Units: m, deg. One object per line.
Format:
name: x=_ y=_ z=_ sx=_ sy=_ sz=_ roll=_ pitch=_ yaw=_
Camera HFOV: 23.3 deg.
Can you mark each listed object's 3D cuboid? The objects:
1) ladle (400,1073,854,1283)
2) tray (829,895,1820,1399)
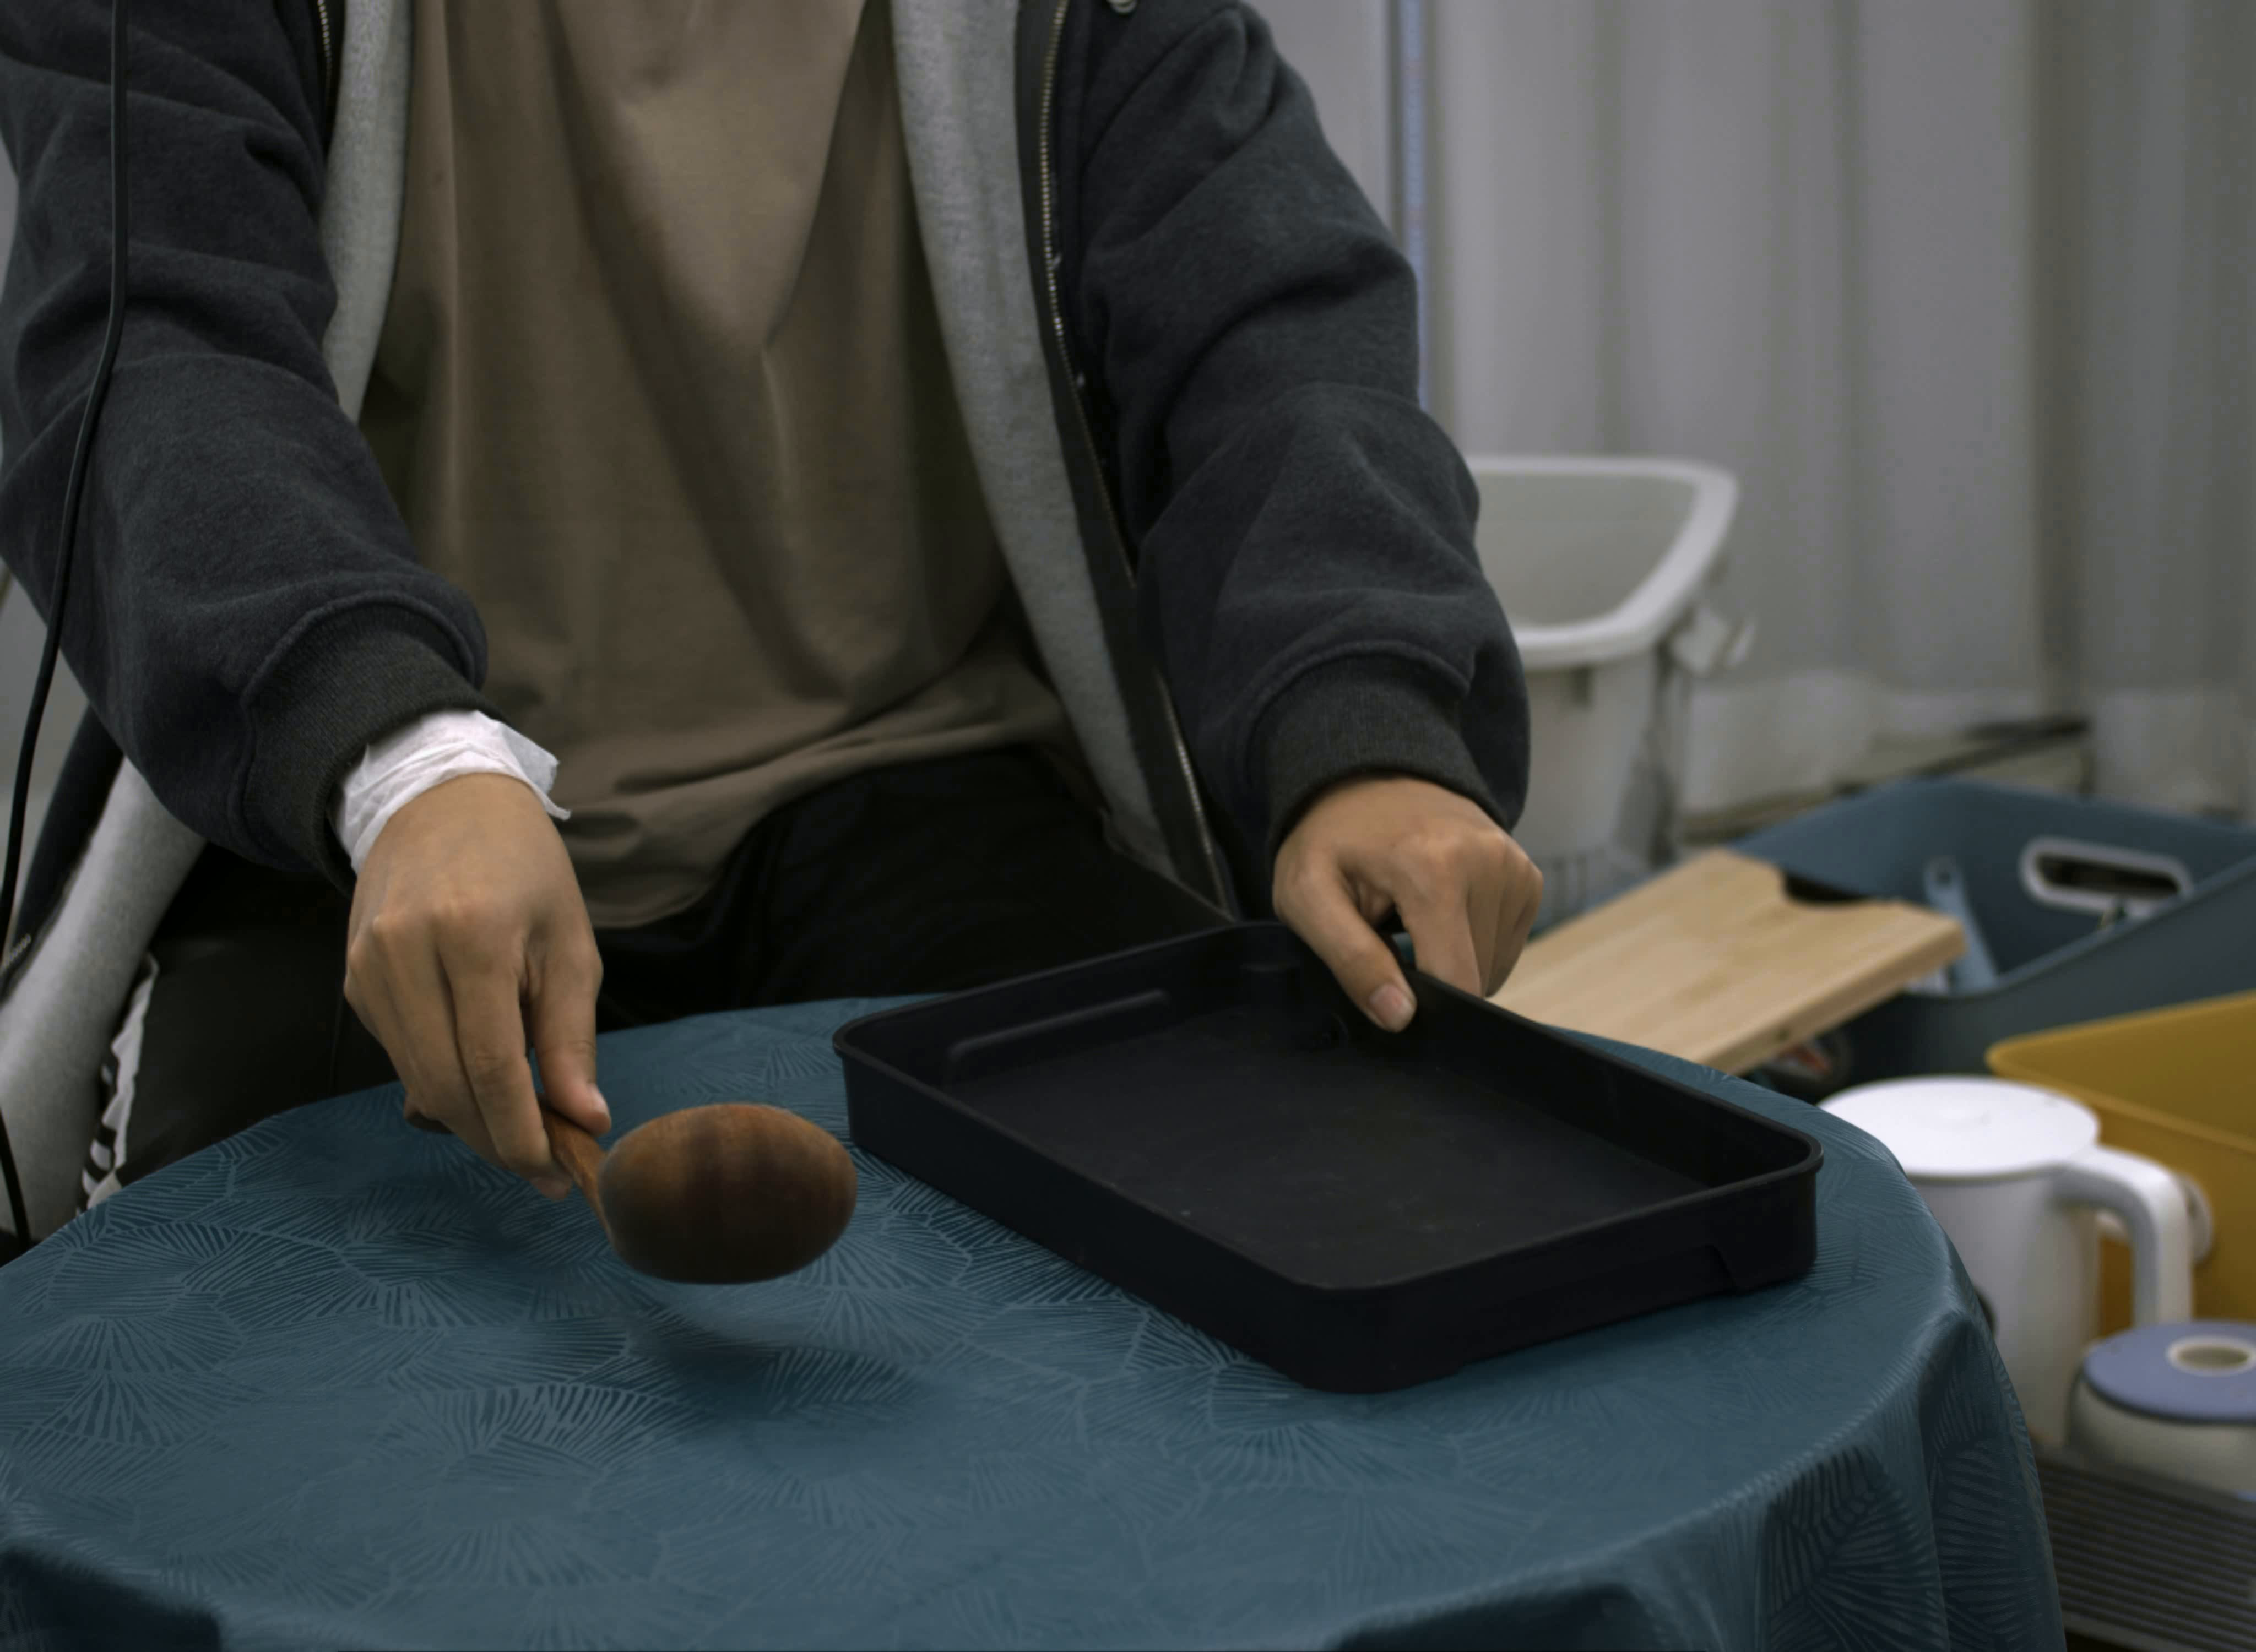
ladle: x=-0.160 y=0.089 z=1.658 sx=0.076 sy=0.065 sz=0.262 roll=24 pitch=-2 yaw=-28
tray: x=0.054 y=0.093 z=1.694 sx=0.183 sy=0.037 sz=0.320 roll=-13 pitch=20 yaw=-28
